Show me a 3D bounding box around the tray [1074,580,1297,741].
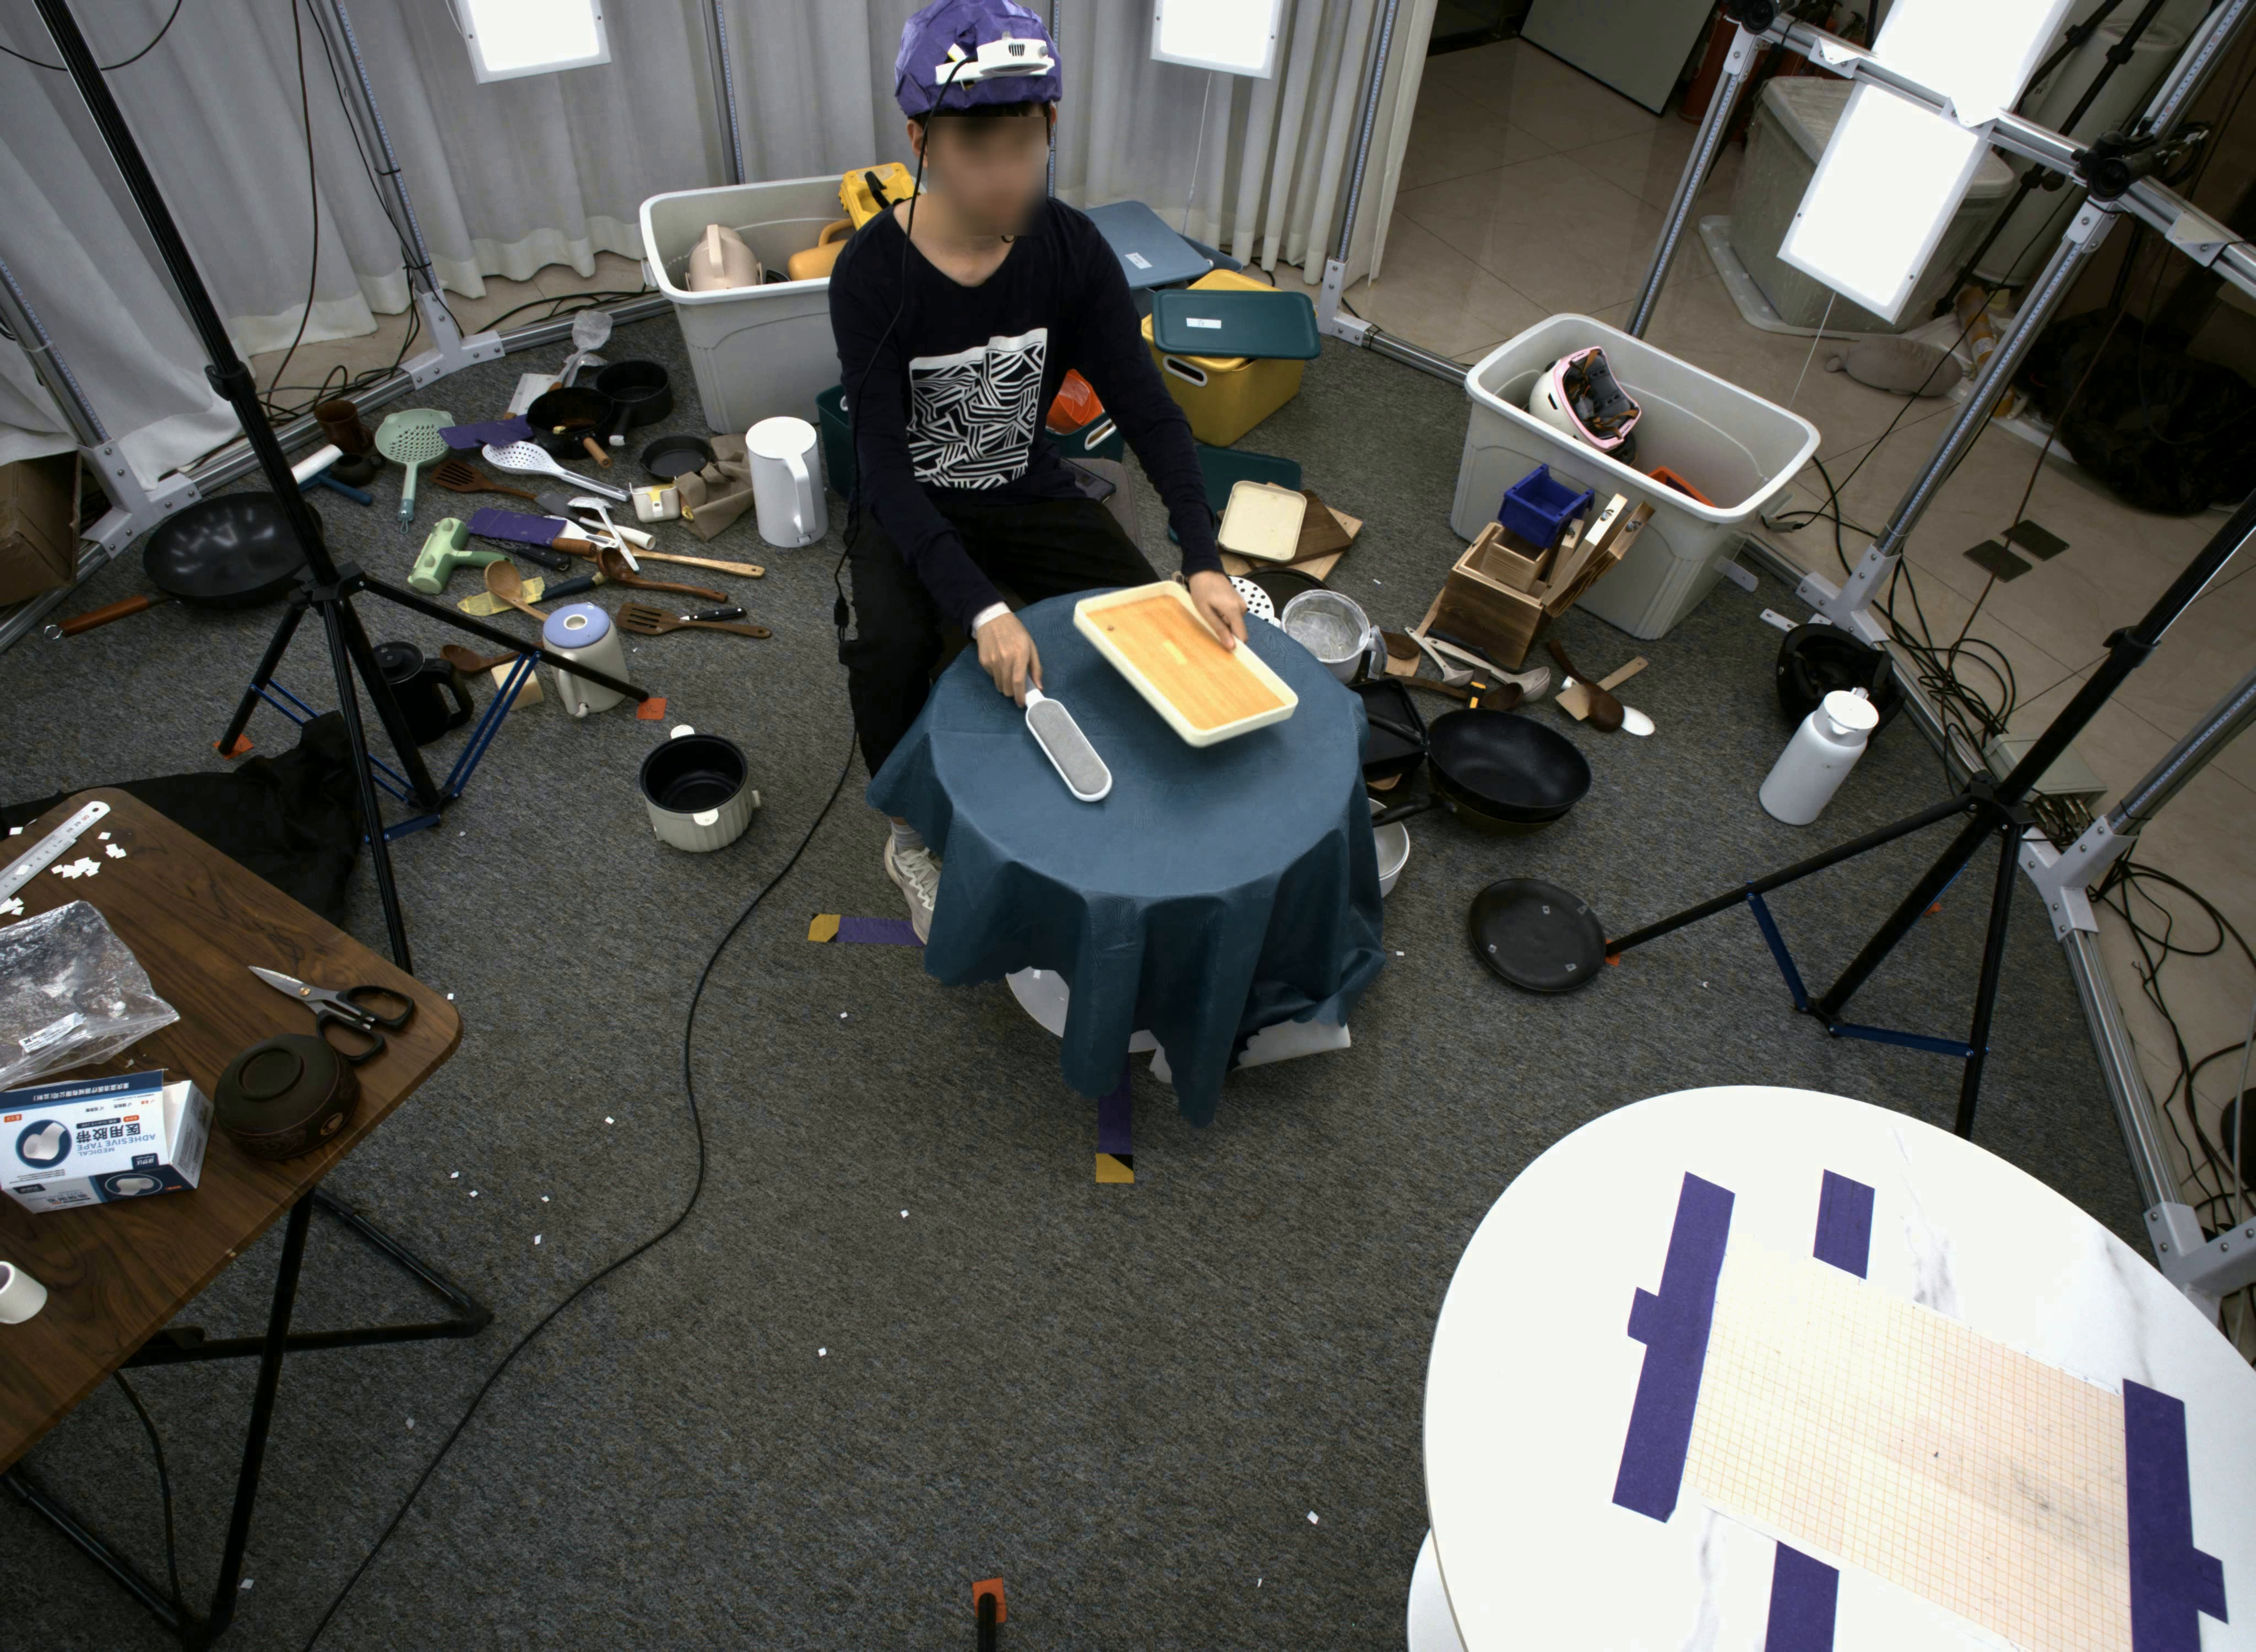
[{"bbox_3d":[0.077,-0.236,1.781,0.192,0.027,0.306,-16,51,-34],"label":"tray"}]

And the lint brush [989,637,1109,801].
[{"bbox_3d":[-0.114,-0.153,1.758,0.060,0.020,0.315,-31,60,-4],"label":"lint brush"}]
